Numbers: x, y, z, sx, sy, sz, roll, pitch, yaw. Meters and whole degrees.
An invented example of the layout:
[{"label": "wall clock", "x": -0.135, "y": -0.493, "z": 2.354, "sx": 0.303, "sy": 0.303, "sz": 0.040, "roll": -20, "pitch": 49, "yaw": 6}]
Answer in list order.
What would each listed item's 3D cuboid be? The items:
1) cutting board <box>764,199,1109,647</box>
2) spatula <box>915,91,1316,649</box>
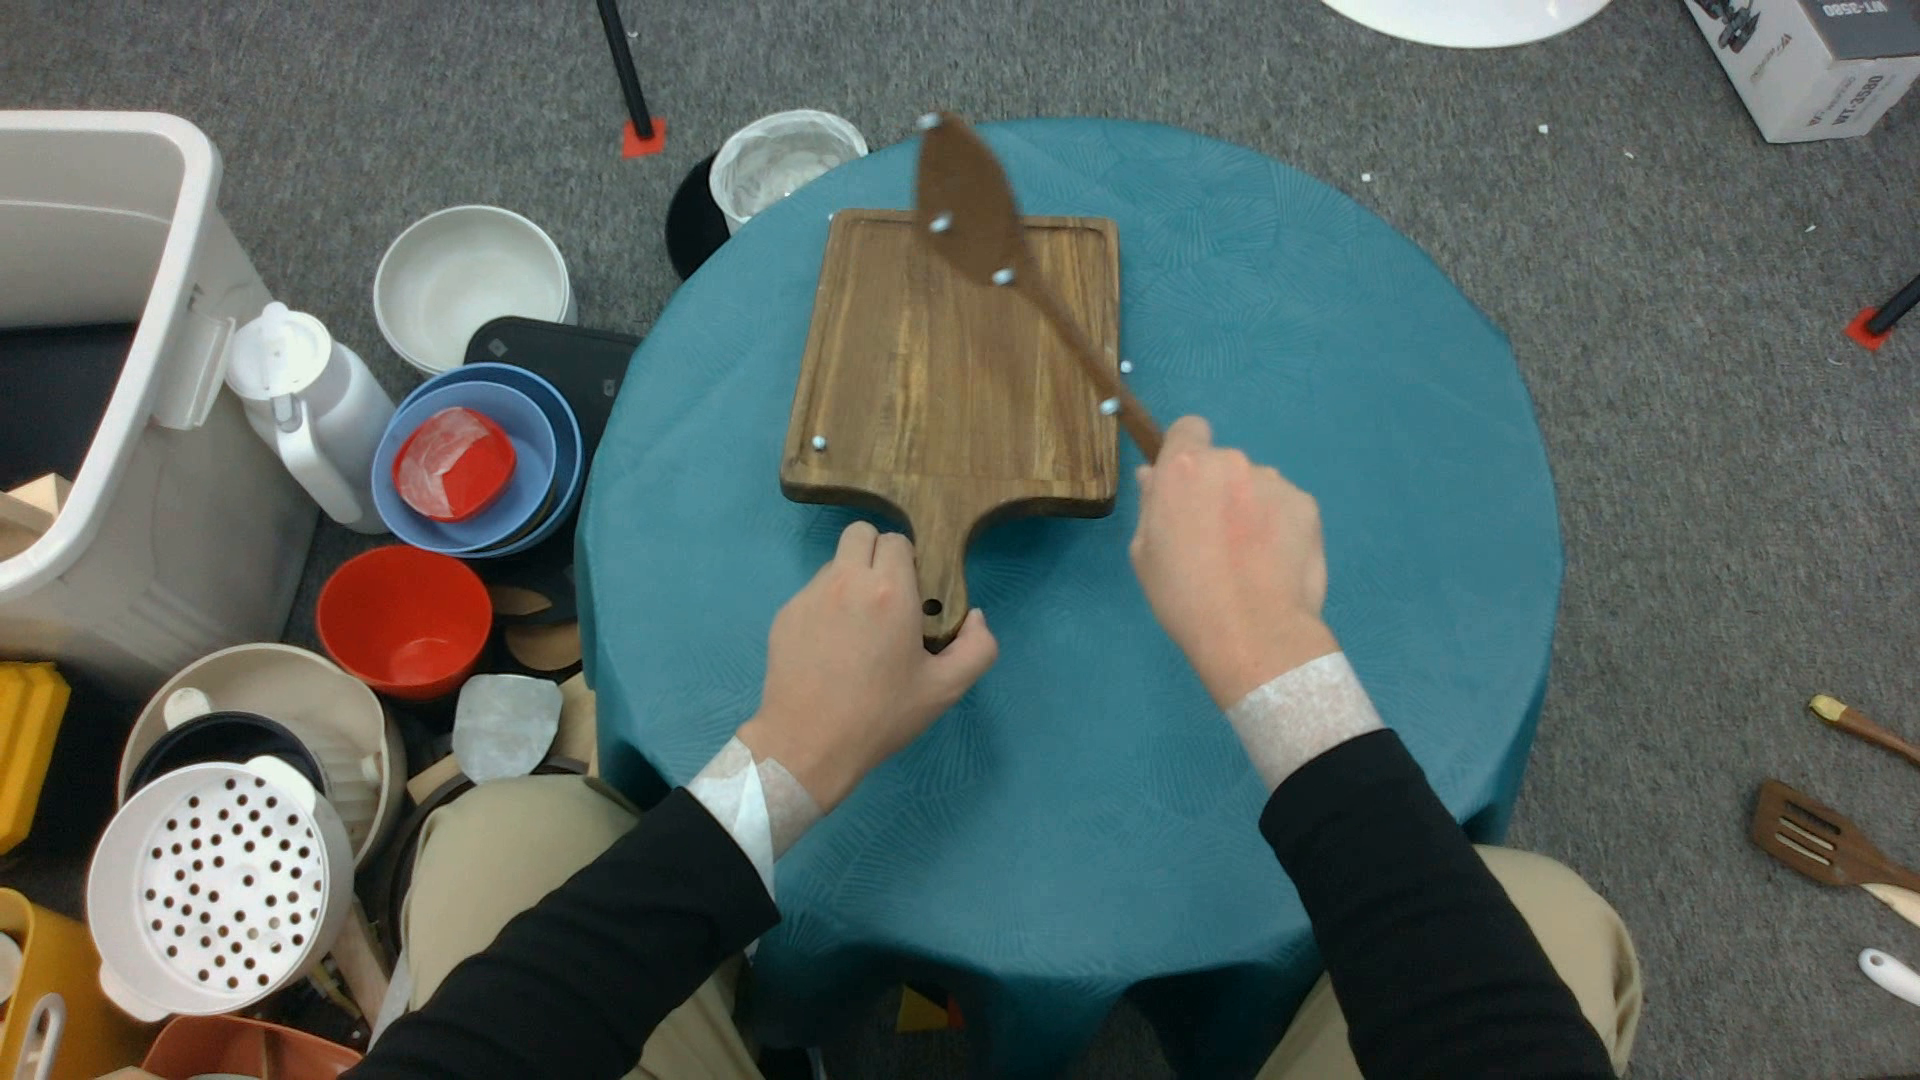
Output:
[{"label": "cutting board", "x": -0.012, "y": -0.088, "z": 0.830, "sx": 0.201, "sy": 0.023, "sz": 0.354, "roll": 3, "pitch": 52, "yaw": 2}, {"label": "spatula", "x": 0.070, "y": -0.095, "z": 0.729, "sx": 0.016, "sy": 0.095, "sz": 0.387, "roll": -17, "pitch": 58, "yaw": -26}]
